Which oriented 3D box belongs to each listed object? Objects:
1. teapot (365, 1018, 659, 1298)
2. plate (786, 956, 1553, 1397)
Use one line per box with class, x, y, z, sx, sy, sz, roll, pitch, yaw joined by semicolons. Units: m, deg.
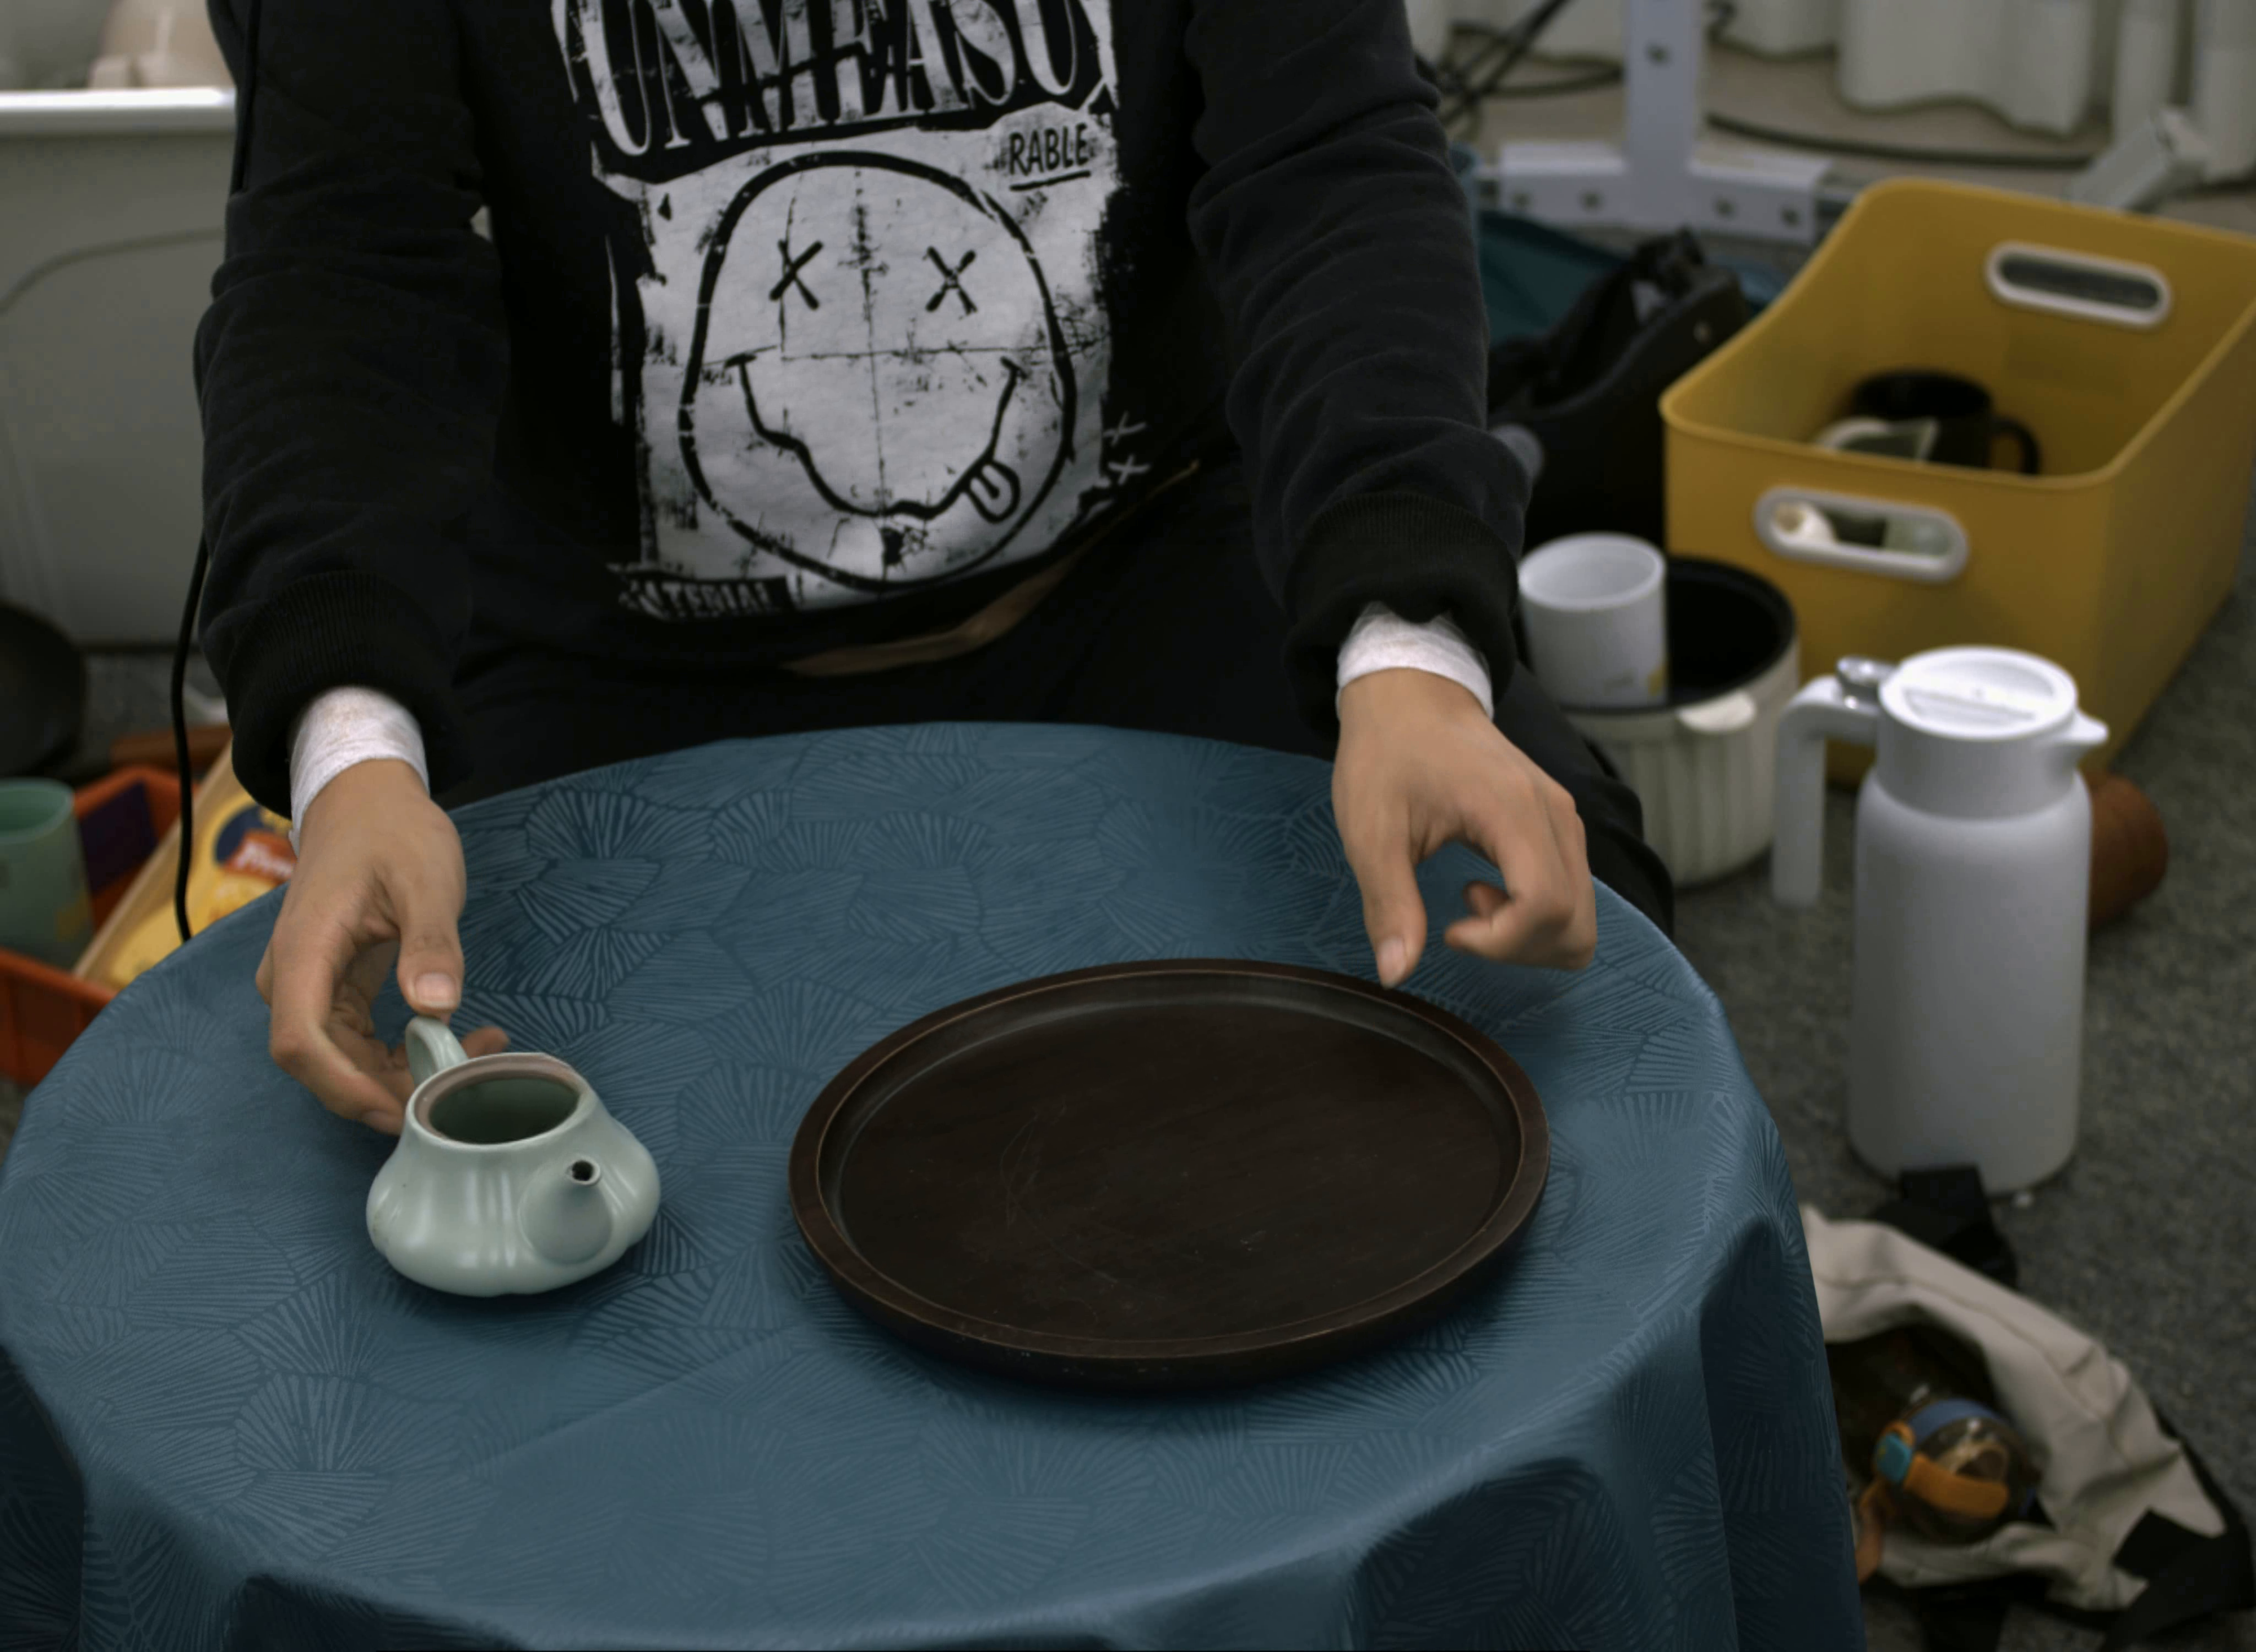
teapot;-0.205;0.111;1.835;0.097;0.061;0.137;-21;32;-29
plate;0.014;0.114;1.846;0.253;0.029;0.259;-3;28;2
